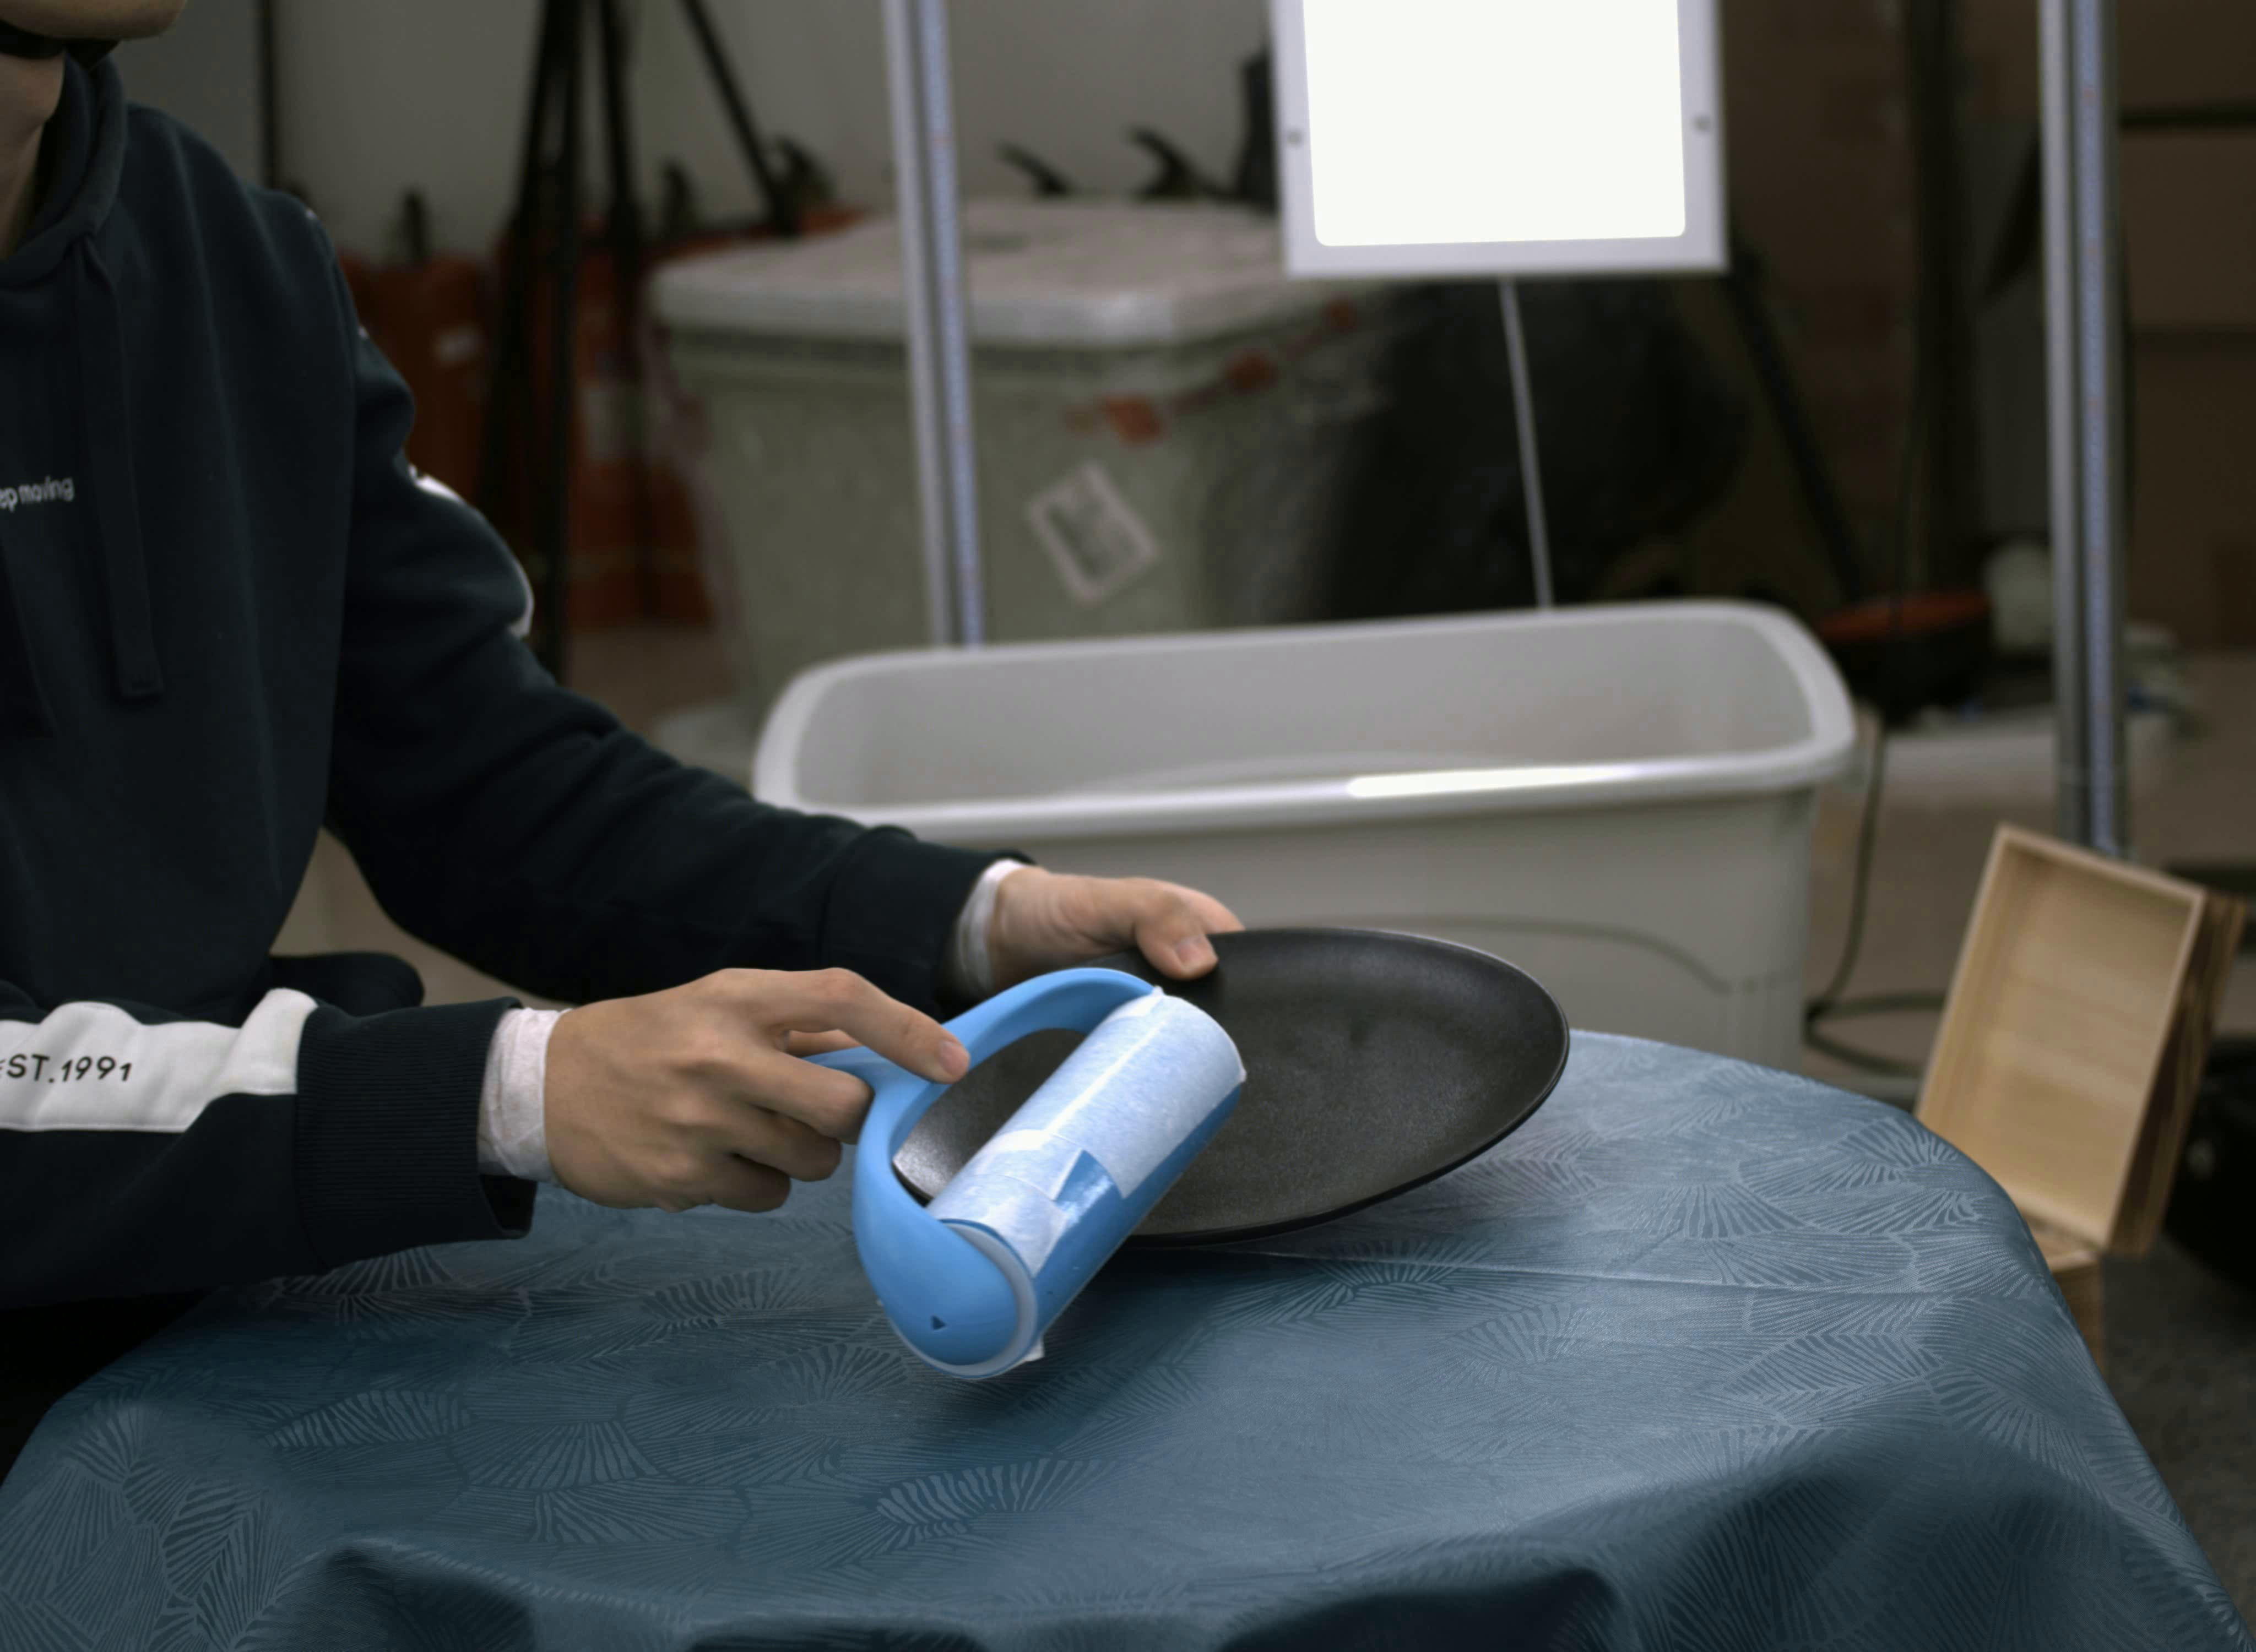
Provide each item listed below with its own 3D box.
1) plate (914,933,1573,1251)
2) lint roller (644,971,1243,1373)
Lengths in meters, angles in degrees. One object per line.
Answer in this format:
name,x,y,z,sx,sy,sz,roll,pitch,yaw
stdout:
plate,0.035,0.095,1.903,0.244,0.023,0.244,-10,22,2
lint roller,-0.074,0.105,1.782,0.182,0.068,0.225,6,22,17
